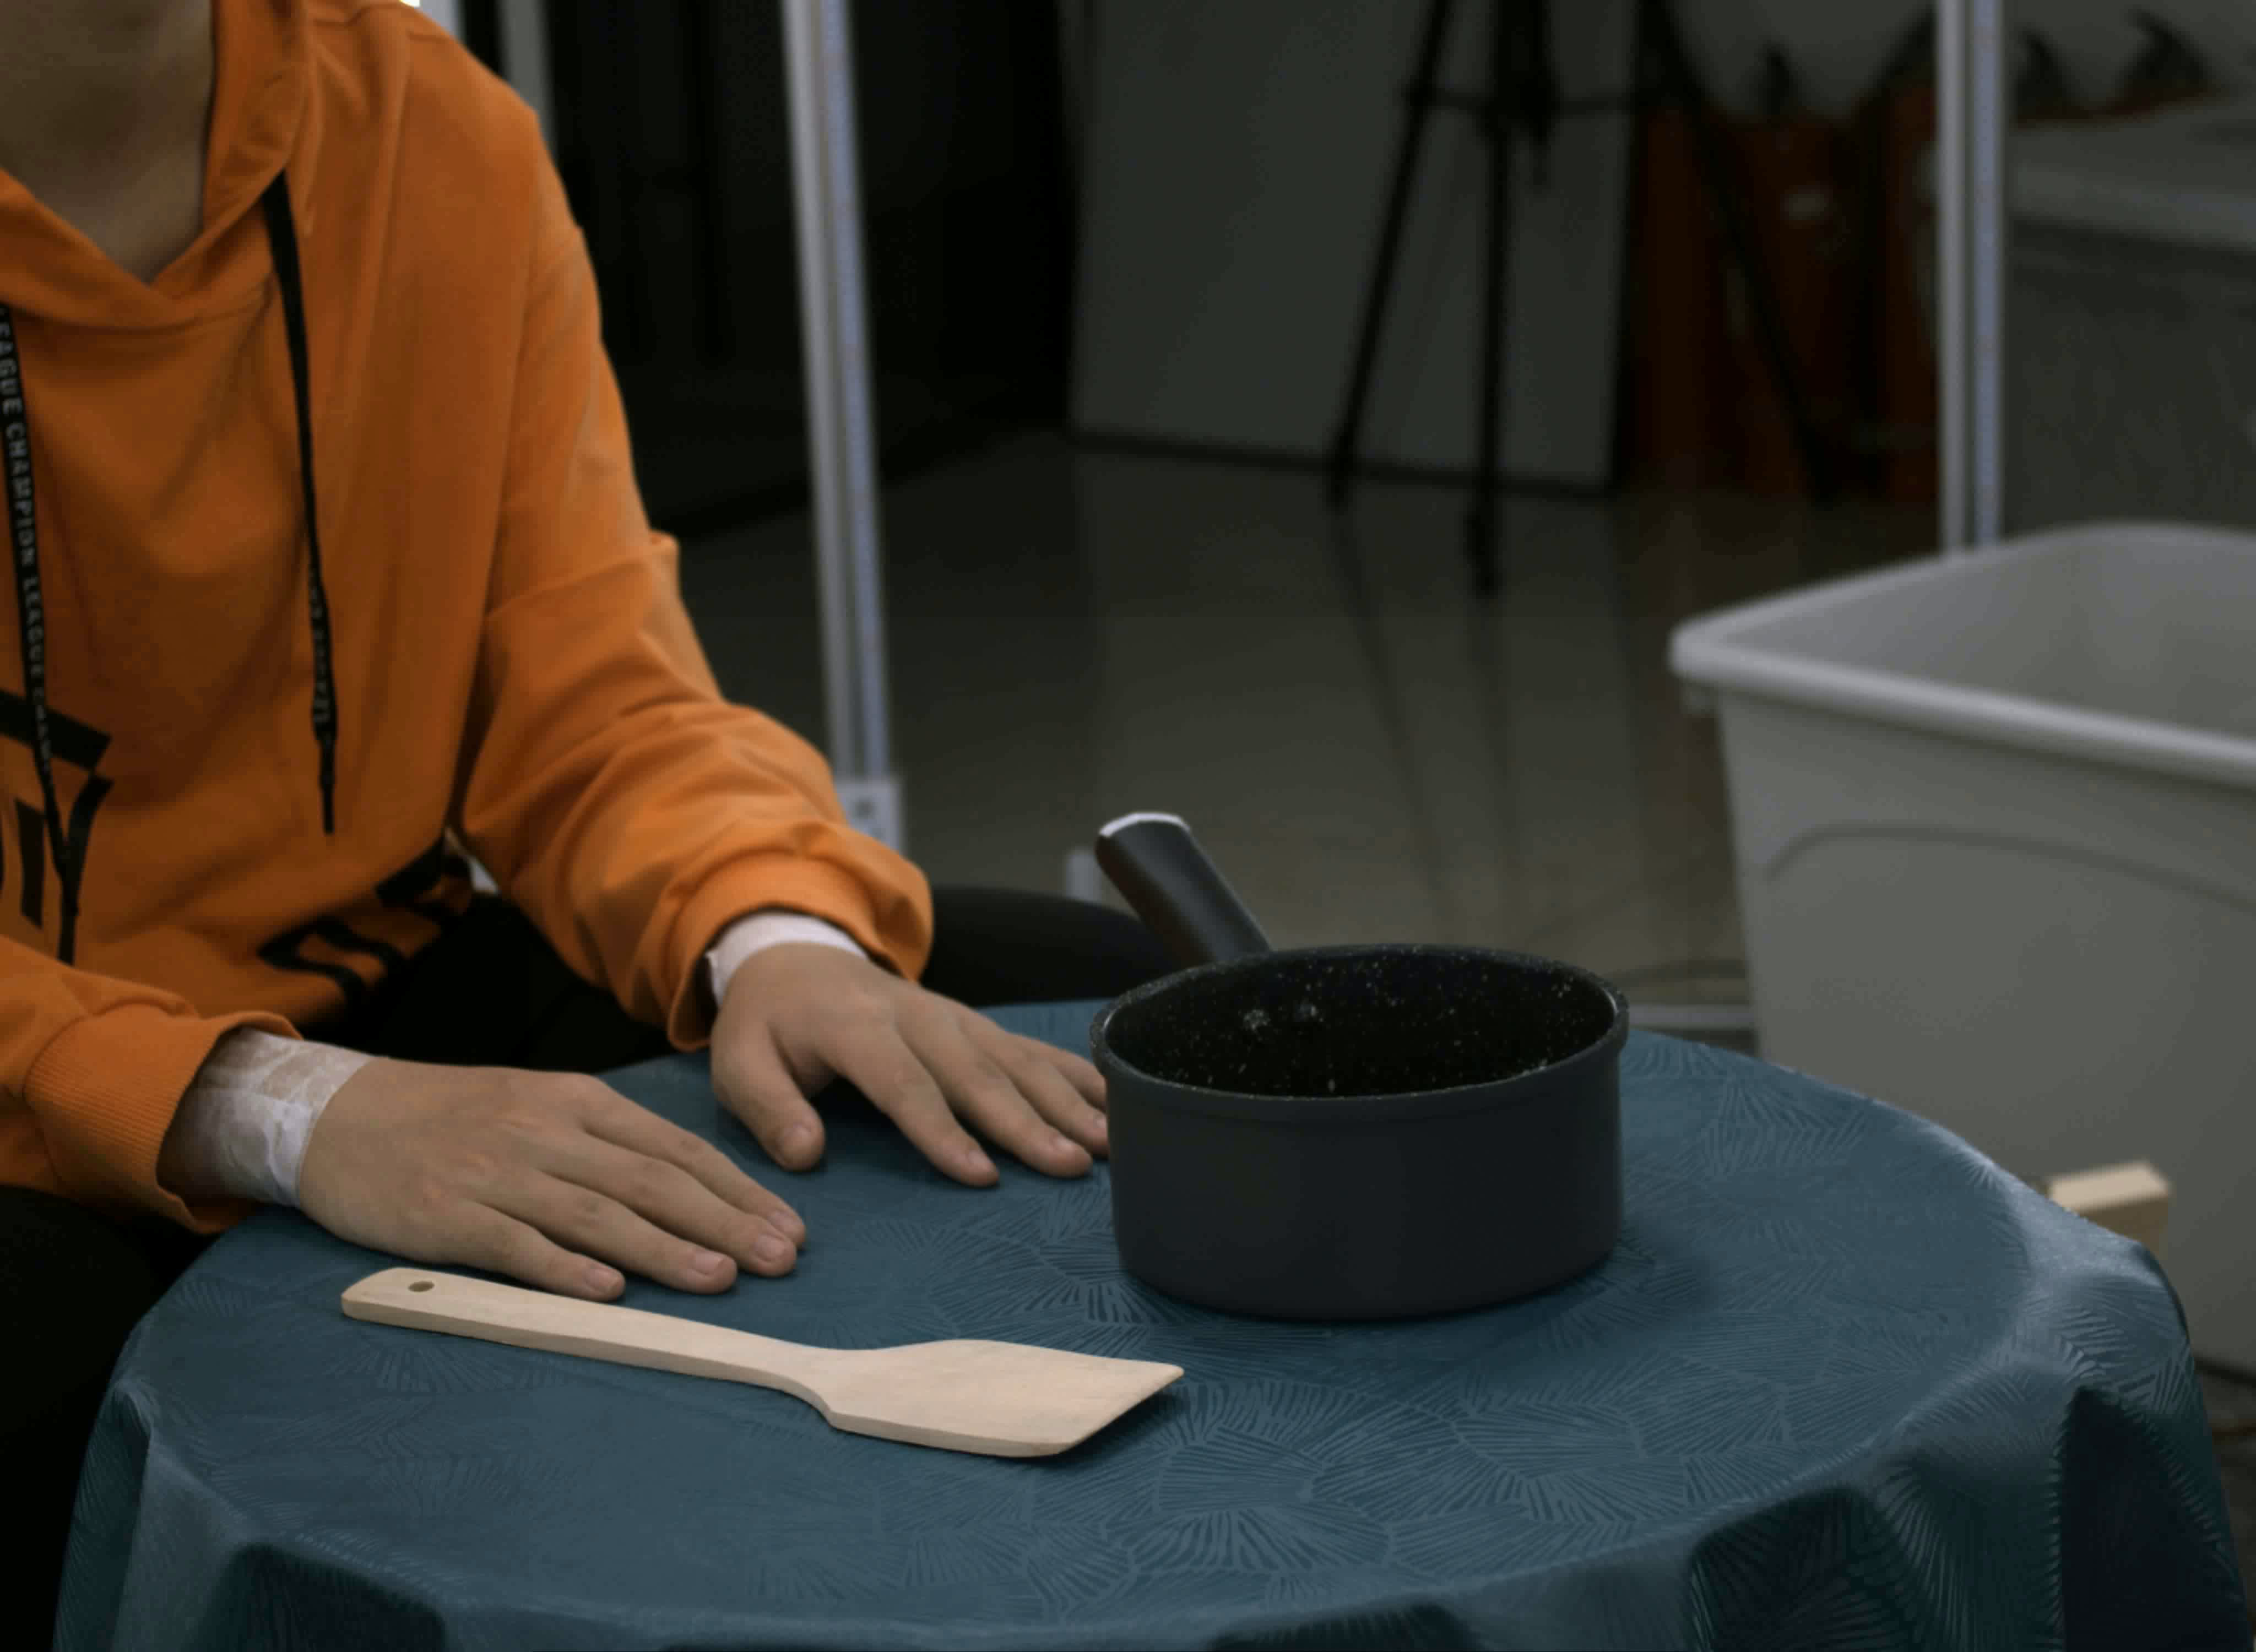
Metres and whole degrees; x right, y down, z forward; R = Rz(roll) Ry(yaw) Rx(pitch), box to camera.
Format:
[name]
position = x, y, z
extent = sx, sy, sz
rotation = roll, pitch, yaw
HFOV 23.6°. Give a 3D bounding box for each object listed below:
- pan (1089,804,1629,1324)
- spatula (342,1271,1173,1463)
[pan]
position = 0.055, 0.074, 1.768
extent = 0.169, 0.087, 0.331
rotation = -7, 15, -12
[spatula]
position = -0.123, 0.160, 1.632
extent = 0.294, 0.011, 0.071
rotation = 5, 20, 34
